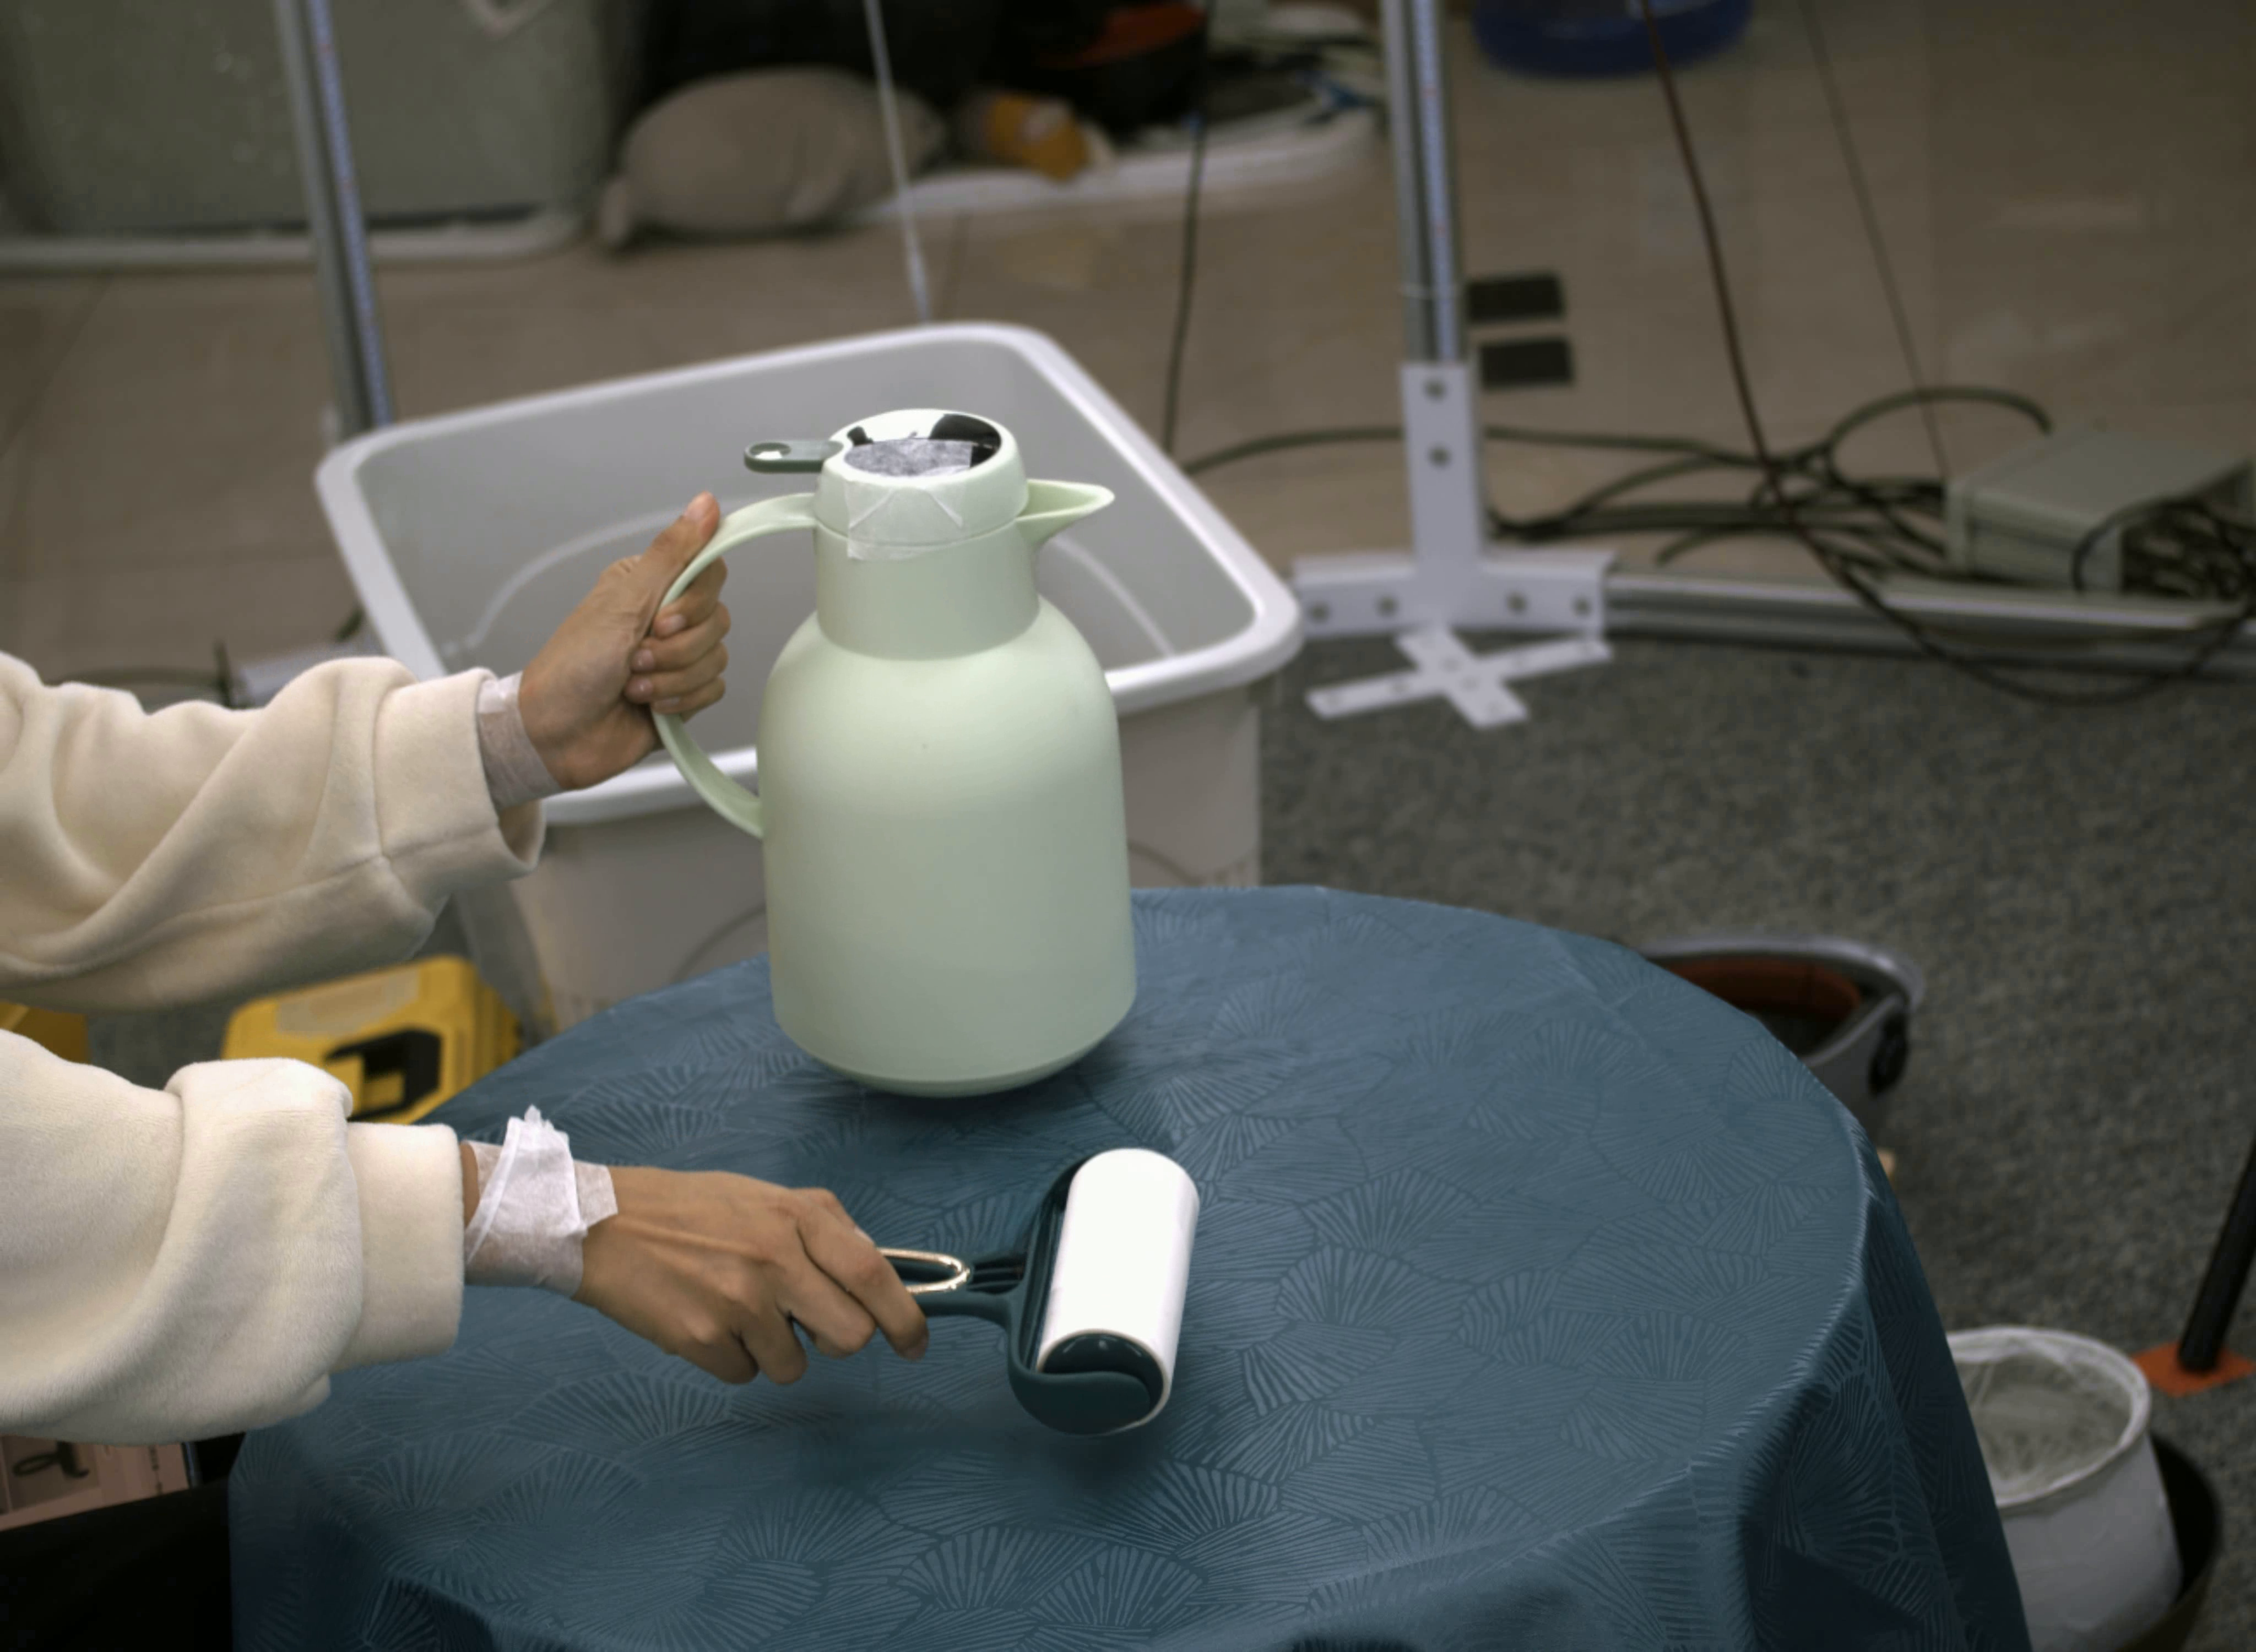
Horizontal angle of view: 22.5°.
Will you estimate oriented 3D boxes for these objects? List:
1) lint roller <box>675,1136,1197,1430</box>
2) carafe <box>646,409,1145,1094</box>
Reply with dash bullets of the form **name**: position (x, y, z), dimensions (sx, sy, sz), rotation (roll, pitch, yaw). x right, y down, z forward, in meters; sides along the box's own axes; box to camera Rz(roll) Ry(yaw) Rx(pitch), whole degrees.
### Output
- **lint roller**: position (-0.070, 0.152, 1.989), dimensions (0.180, 0.049, 0.132), rotation (6, 36, 4)
- **carafe**: position (-0.088, -0.033, 2.200), dimensions (0.186, 0.261, 0.142), rotation (-5, 29, 4)
